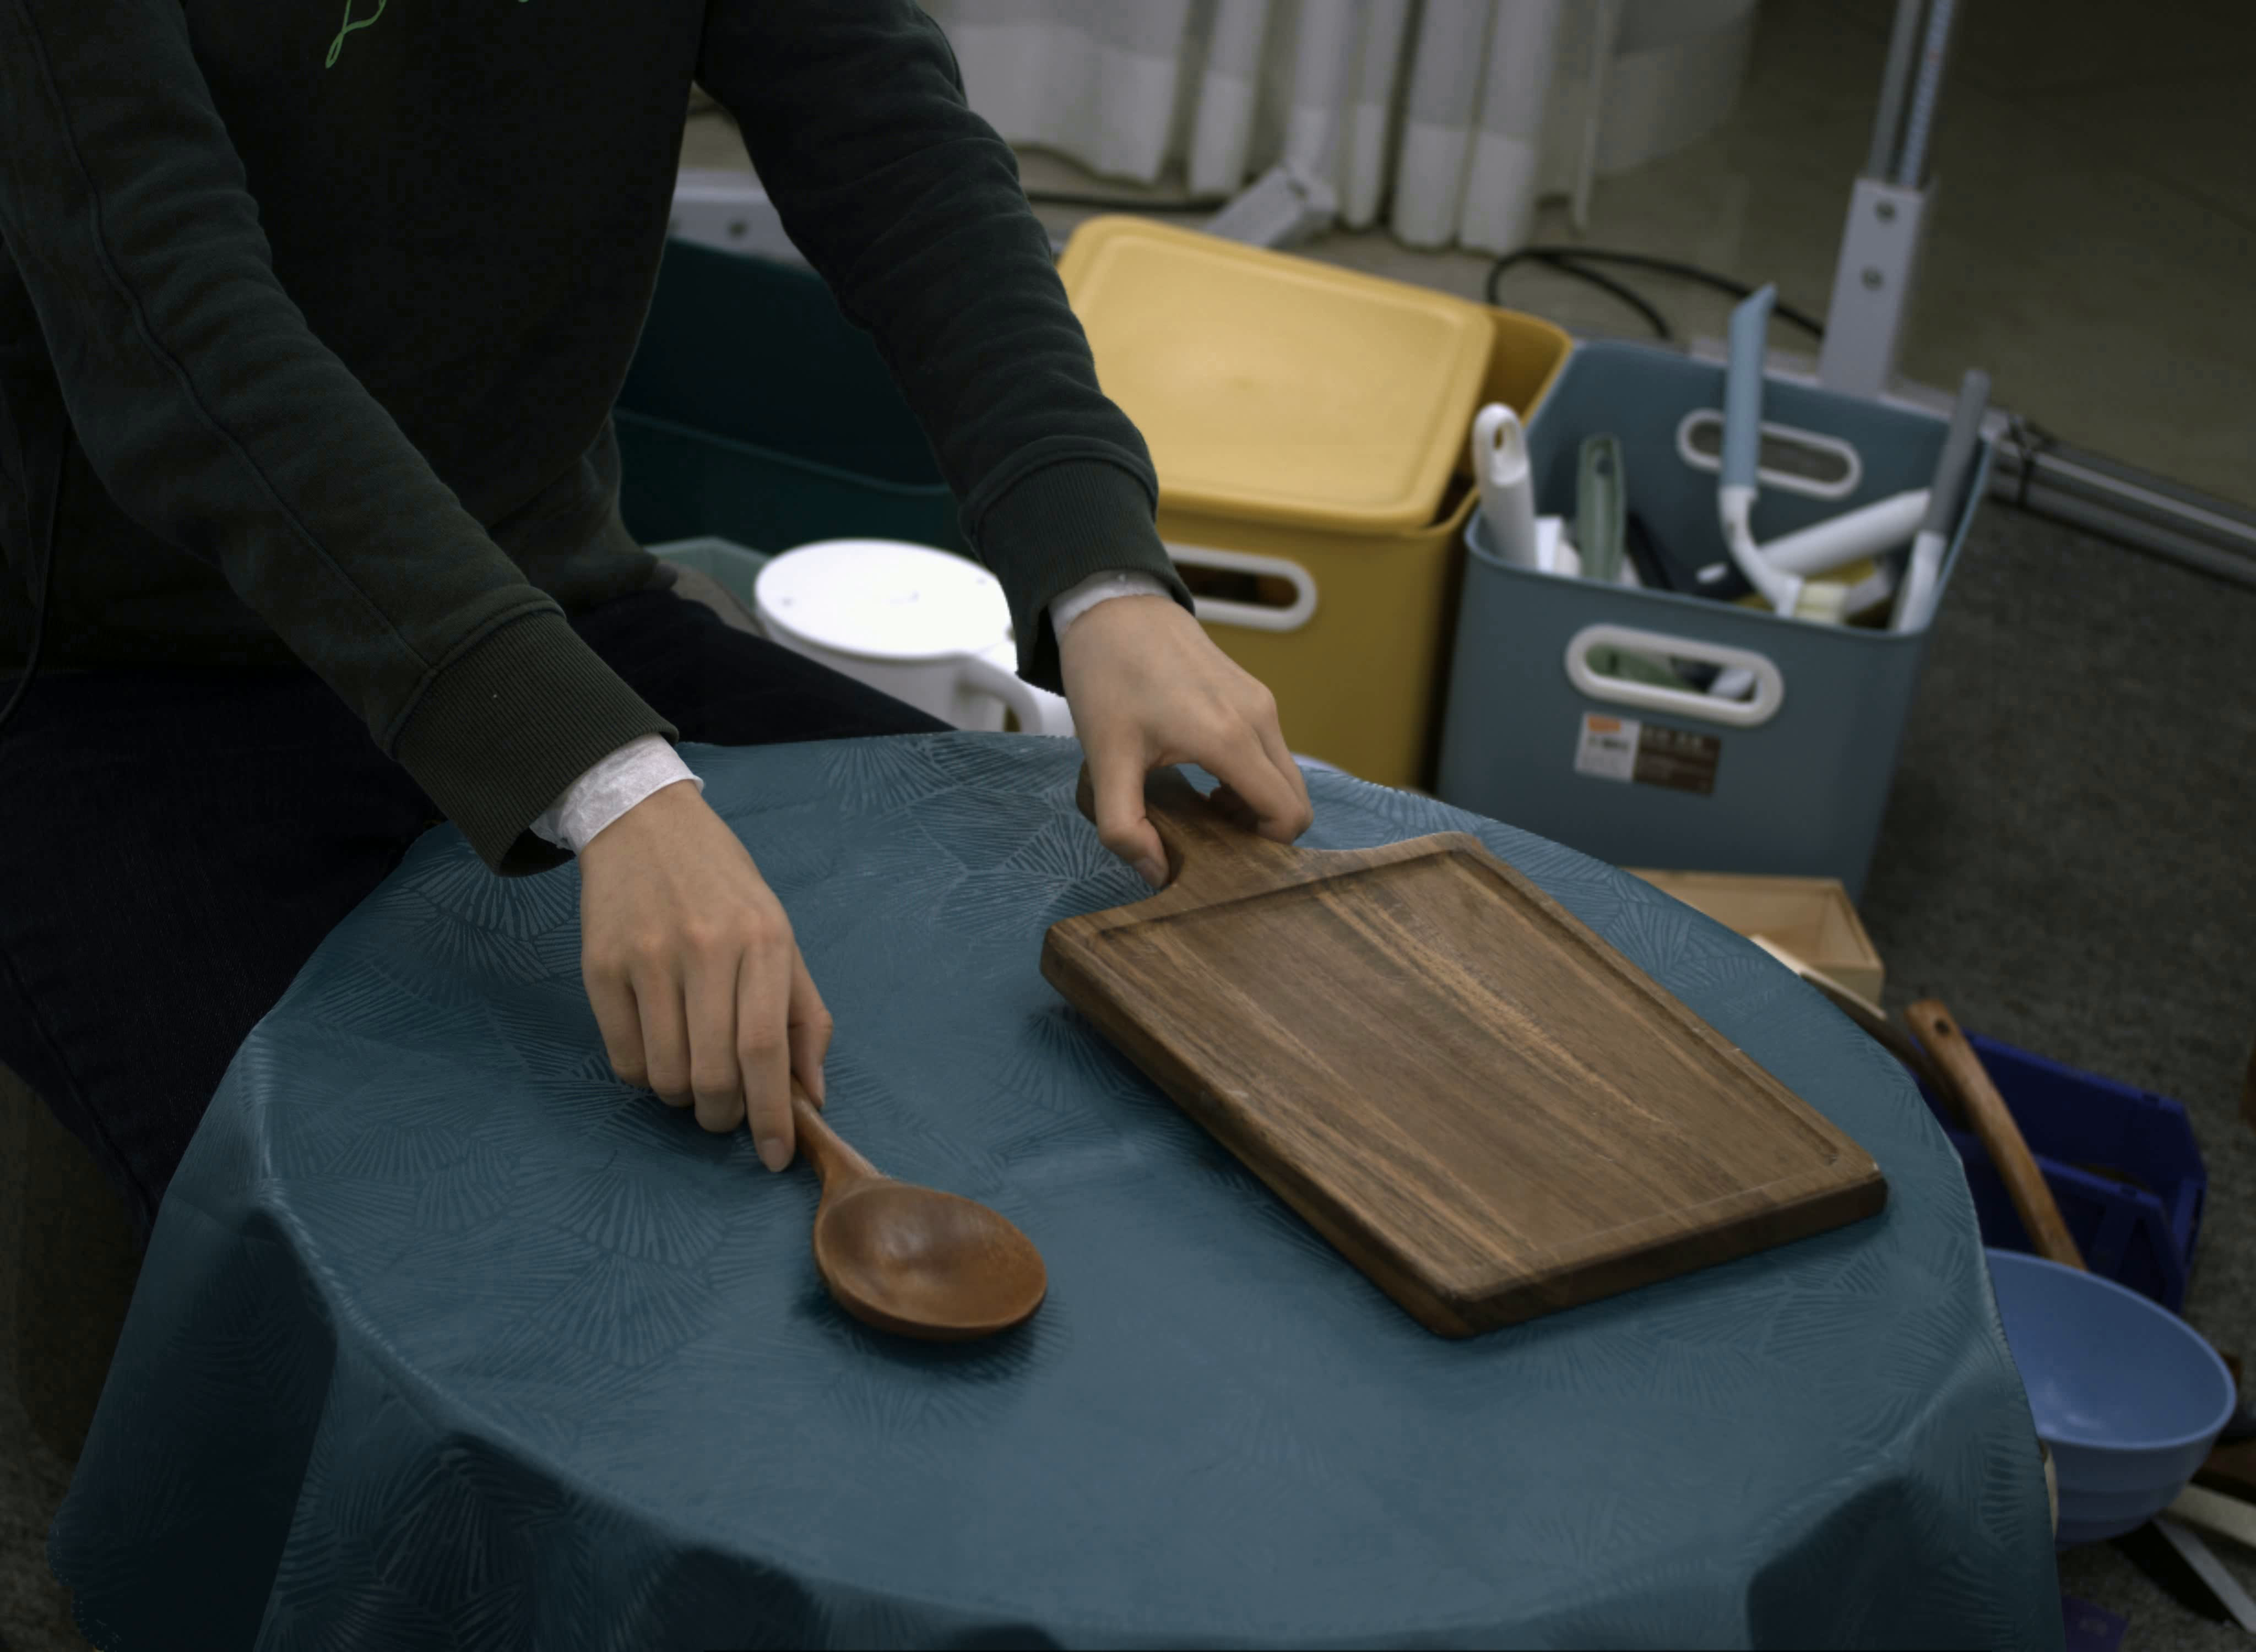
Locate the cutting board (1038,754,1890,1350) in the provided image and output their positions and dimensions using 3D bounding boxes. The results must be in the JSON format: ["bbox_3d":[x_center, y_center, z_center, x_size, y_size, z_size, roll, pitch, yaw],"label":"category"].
[{"bbox_3d":[0.088,0.064,1.901,0.200,0.023,0.355,-13,36,-32],"label":"cutting board"}]

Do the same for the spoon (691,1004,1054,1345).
[{"bbox_3d":[-0.094,0.116,1.773,0.075,0.017,0.218,-10,32,-26],"label":"spoon"}]
